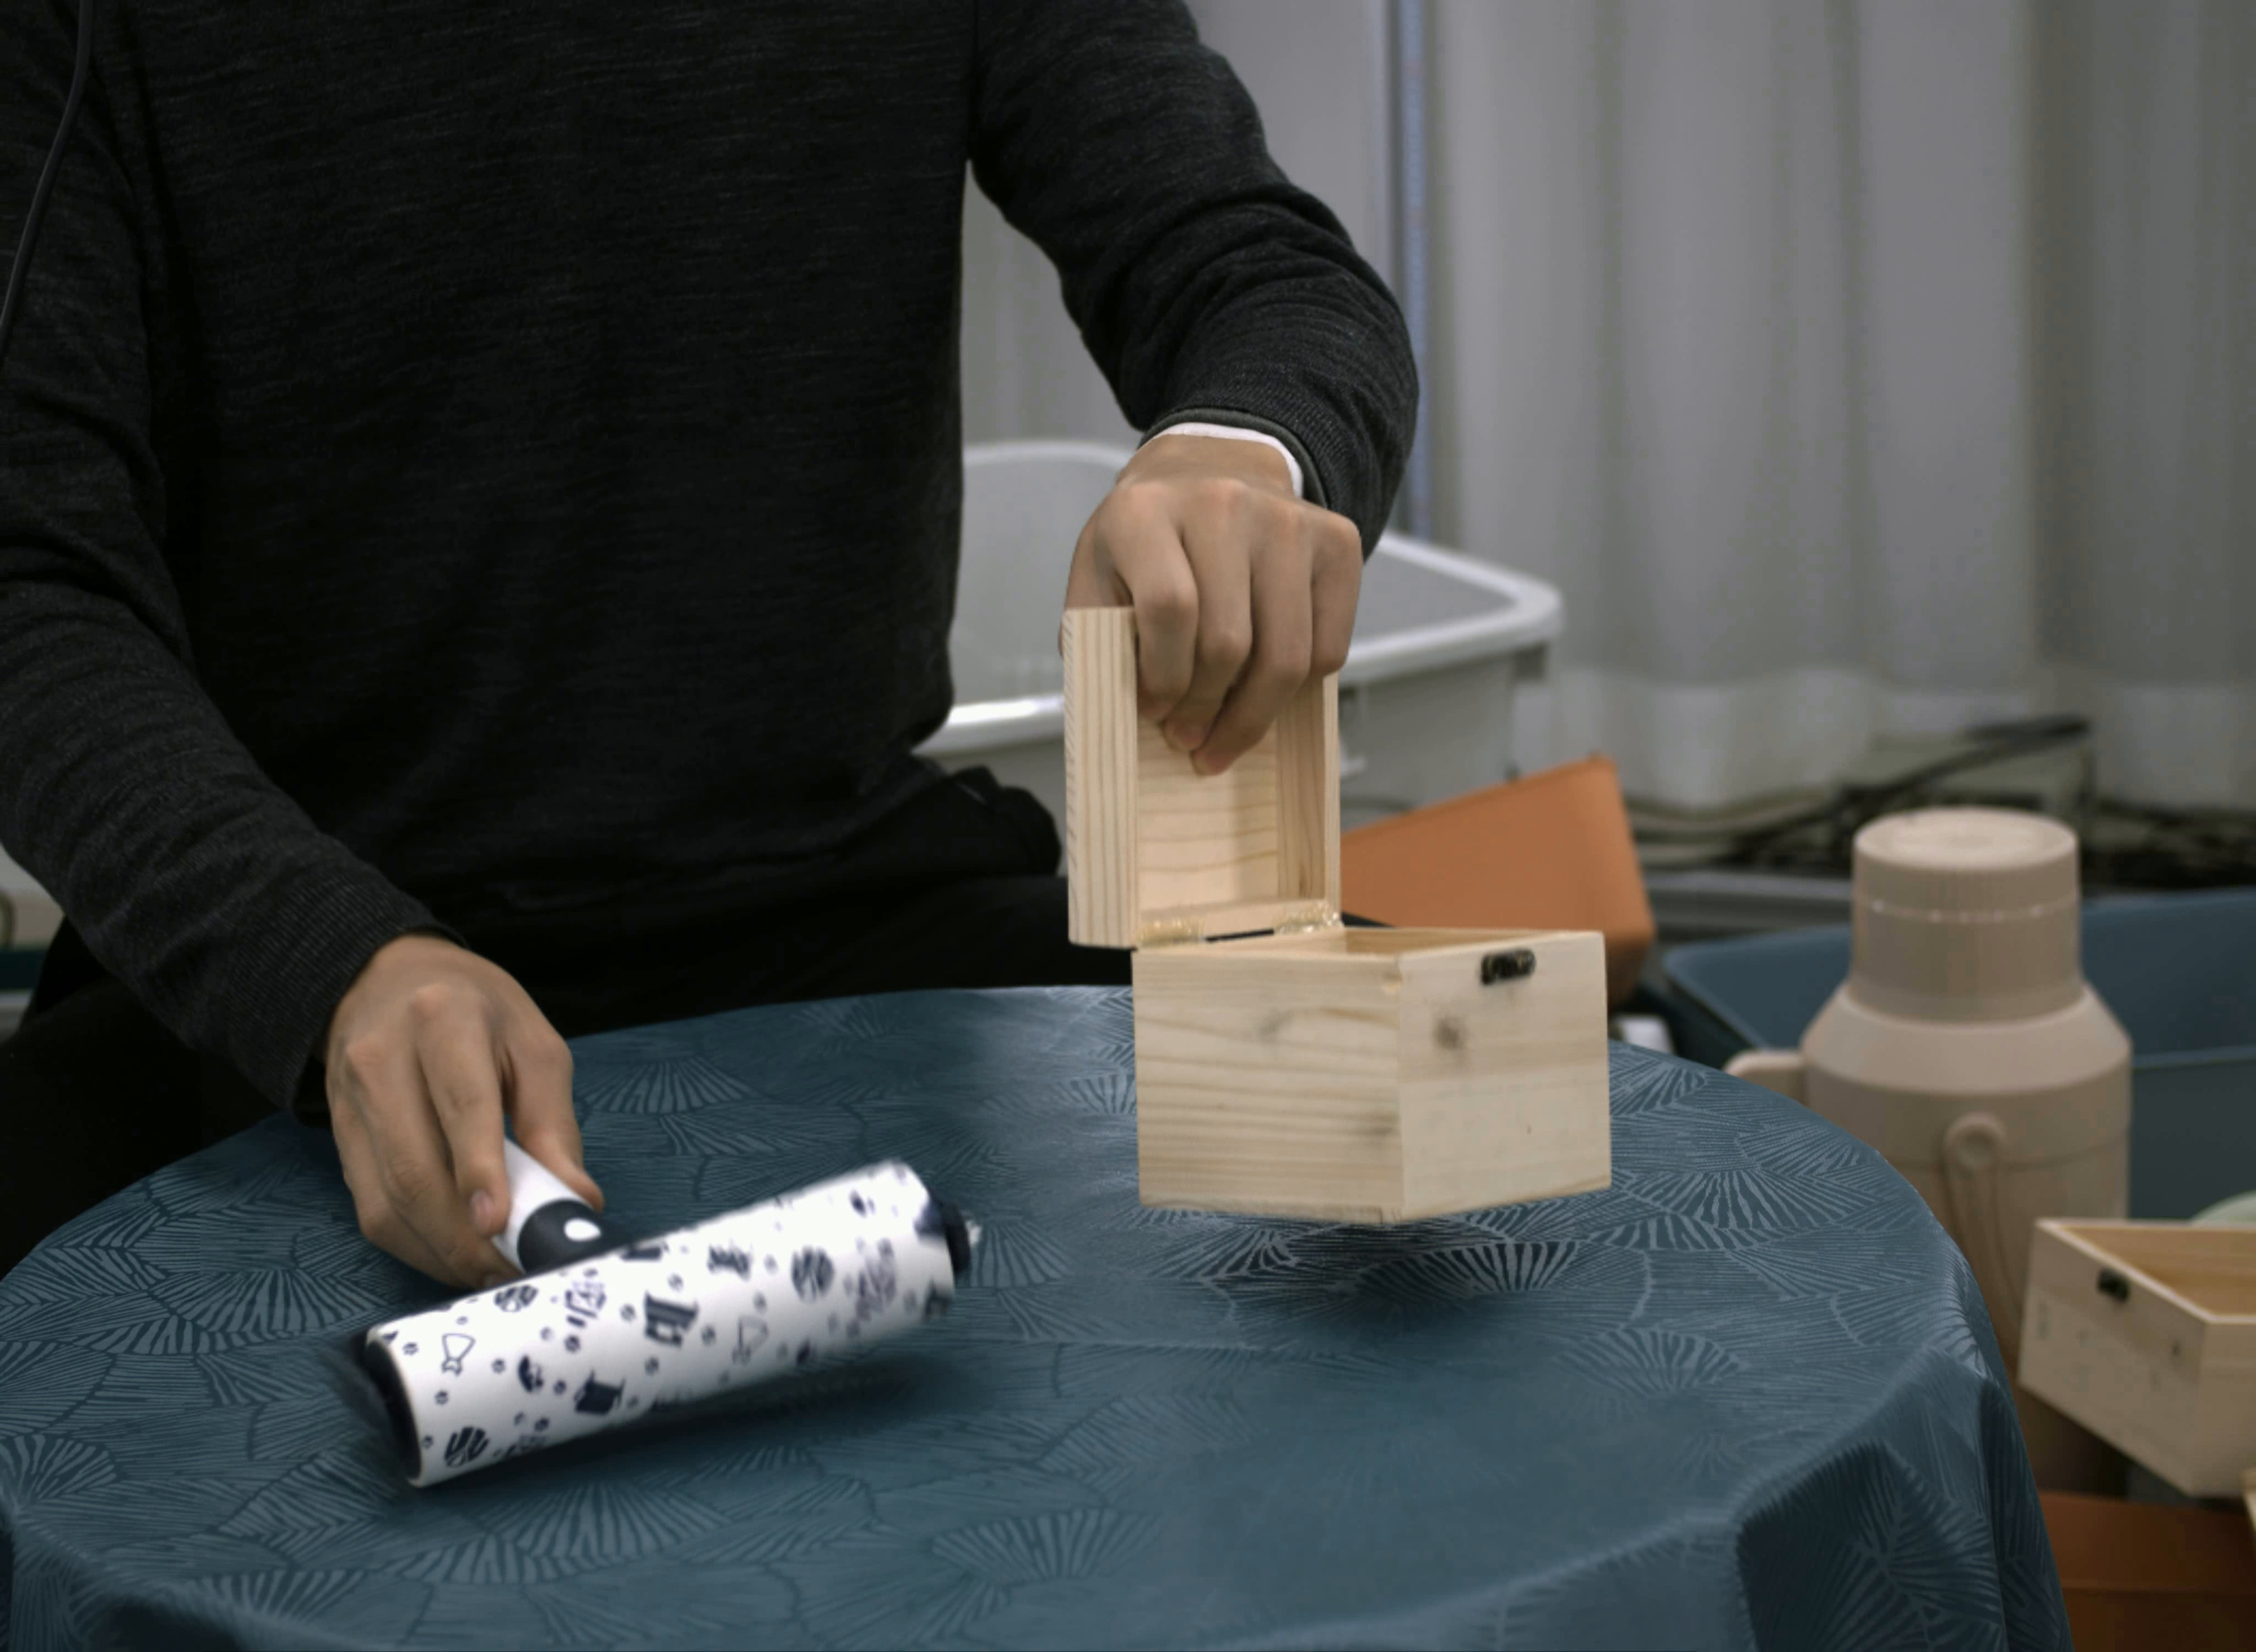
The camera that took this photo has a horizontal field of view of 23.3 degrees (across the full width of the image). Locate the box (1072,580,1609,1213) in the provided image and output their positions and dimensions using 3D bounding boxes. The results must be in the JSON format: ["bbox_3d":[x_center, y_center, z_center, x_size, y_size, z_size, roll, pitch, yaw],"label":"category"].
[{"bbox_3d":[0.065,0.018,1.632,0.134,0.185,0.102,-1,0,42],"label":"box"}]

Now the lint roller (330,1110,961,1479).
[{"bbox_3d":[-0.173,0.115,1.615,0.176,0.050,0.249,-19,18,-20],"label":"lint roller"}]
